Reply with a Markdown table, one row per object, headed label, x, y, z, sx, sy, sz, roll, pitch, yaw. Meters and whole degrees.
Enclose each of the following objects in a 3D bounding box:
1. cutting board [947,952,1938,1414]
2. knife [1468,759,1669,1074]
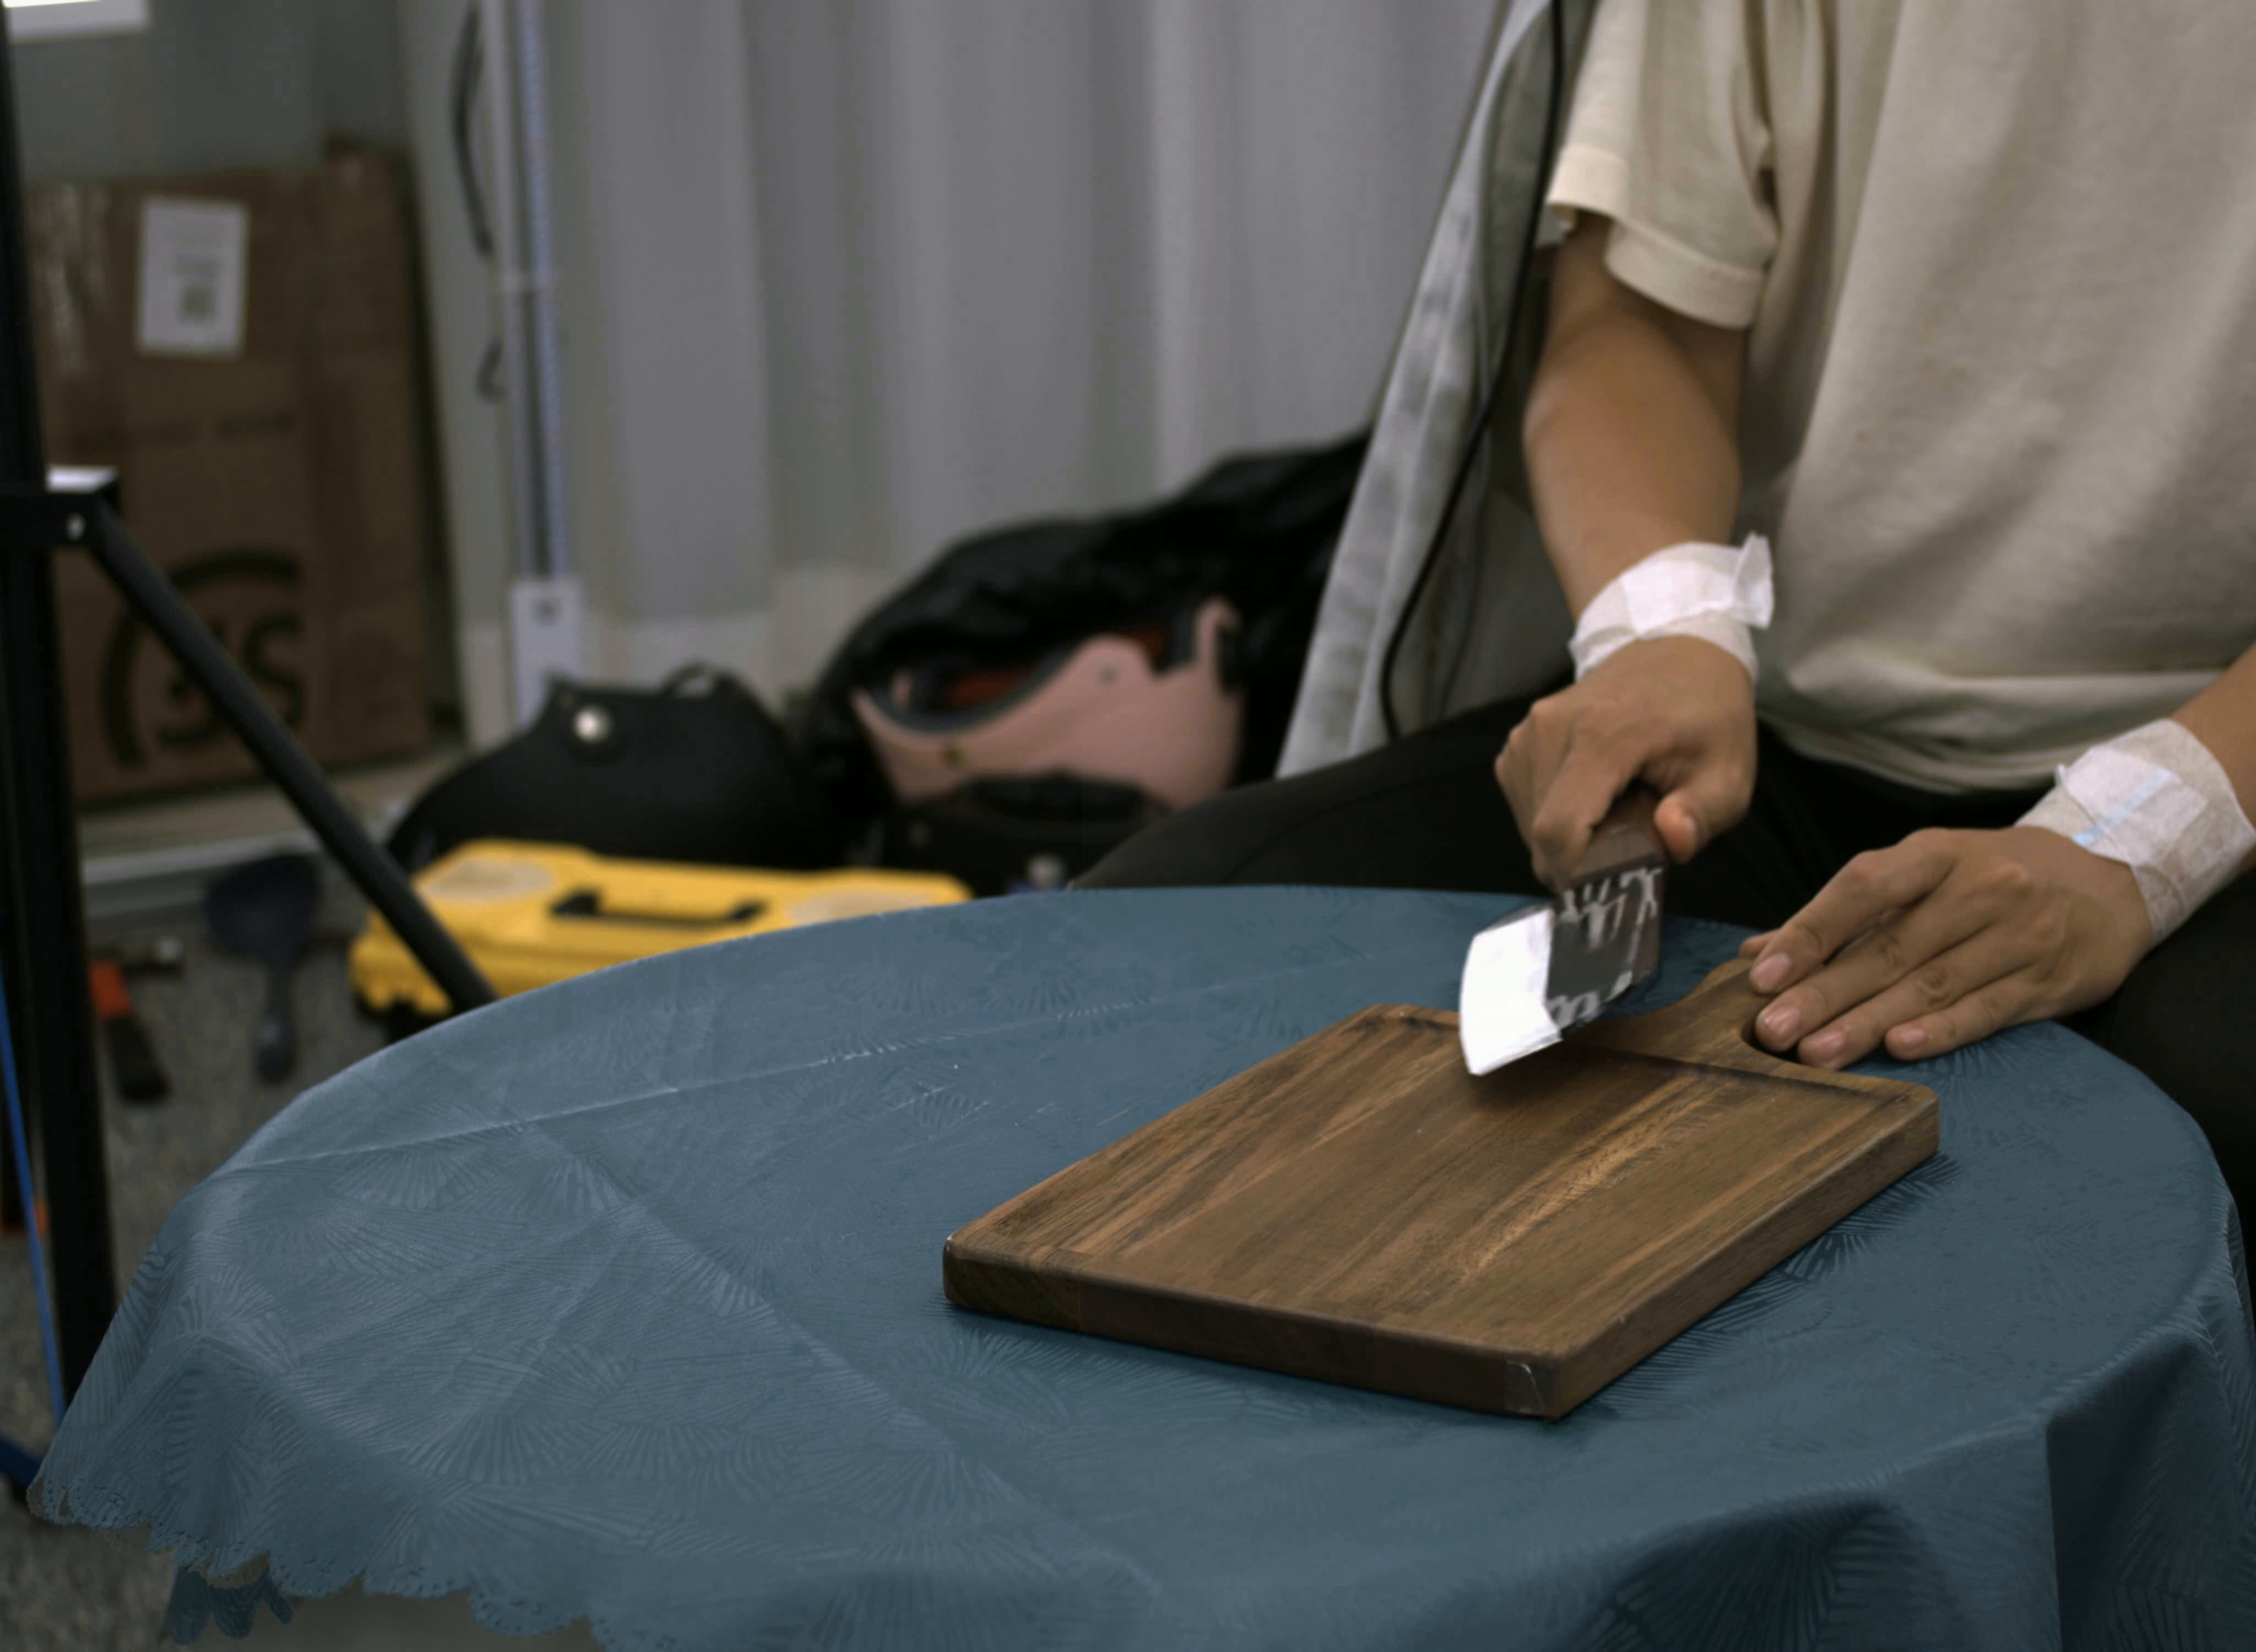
| label | x | y | z | sx | sy | sz | roll | pitch | yaw |
| --- | --- | --- | --- | --- | --- | --- | --- | --- | --- |
| cutting board | 0.121 | 0.093 | 1.553 | 0.205 | 0.023 | 0.345 | 7 | 18 | 32 |
| knife | 0.142 | 0.030 | 1.706 | 0.068 | 0.024 | 0.299 | -20 | 11 | 12 |
